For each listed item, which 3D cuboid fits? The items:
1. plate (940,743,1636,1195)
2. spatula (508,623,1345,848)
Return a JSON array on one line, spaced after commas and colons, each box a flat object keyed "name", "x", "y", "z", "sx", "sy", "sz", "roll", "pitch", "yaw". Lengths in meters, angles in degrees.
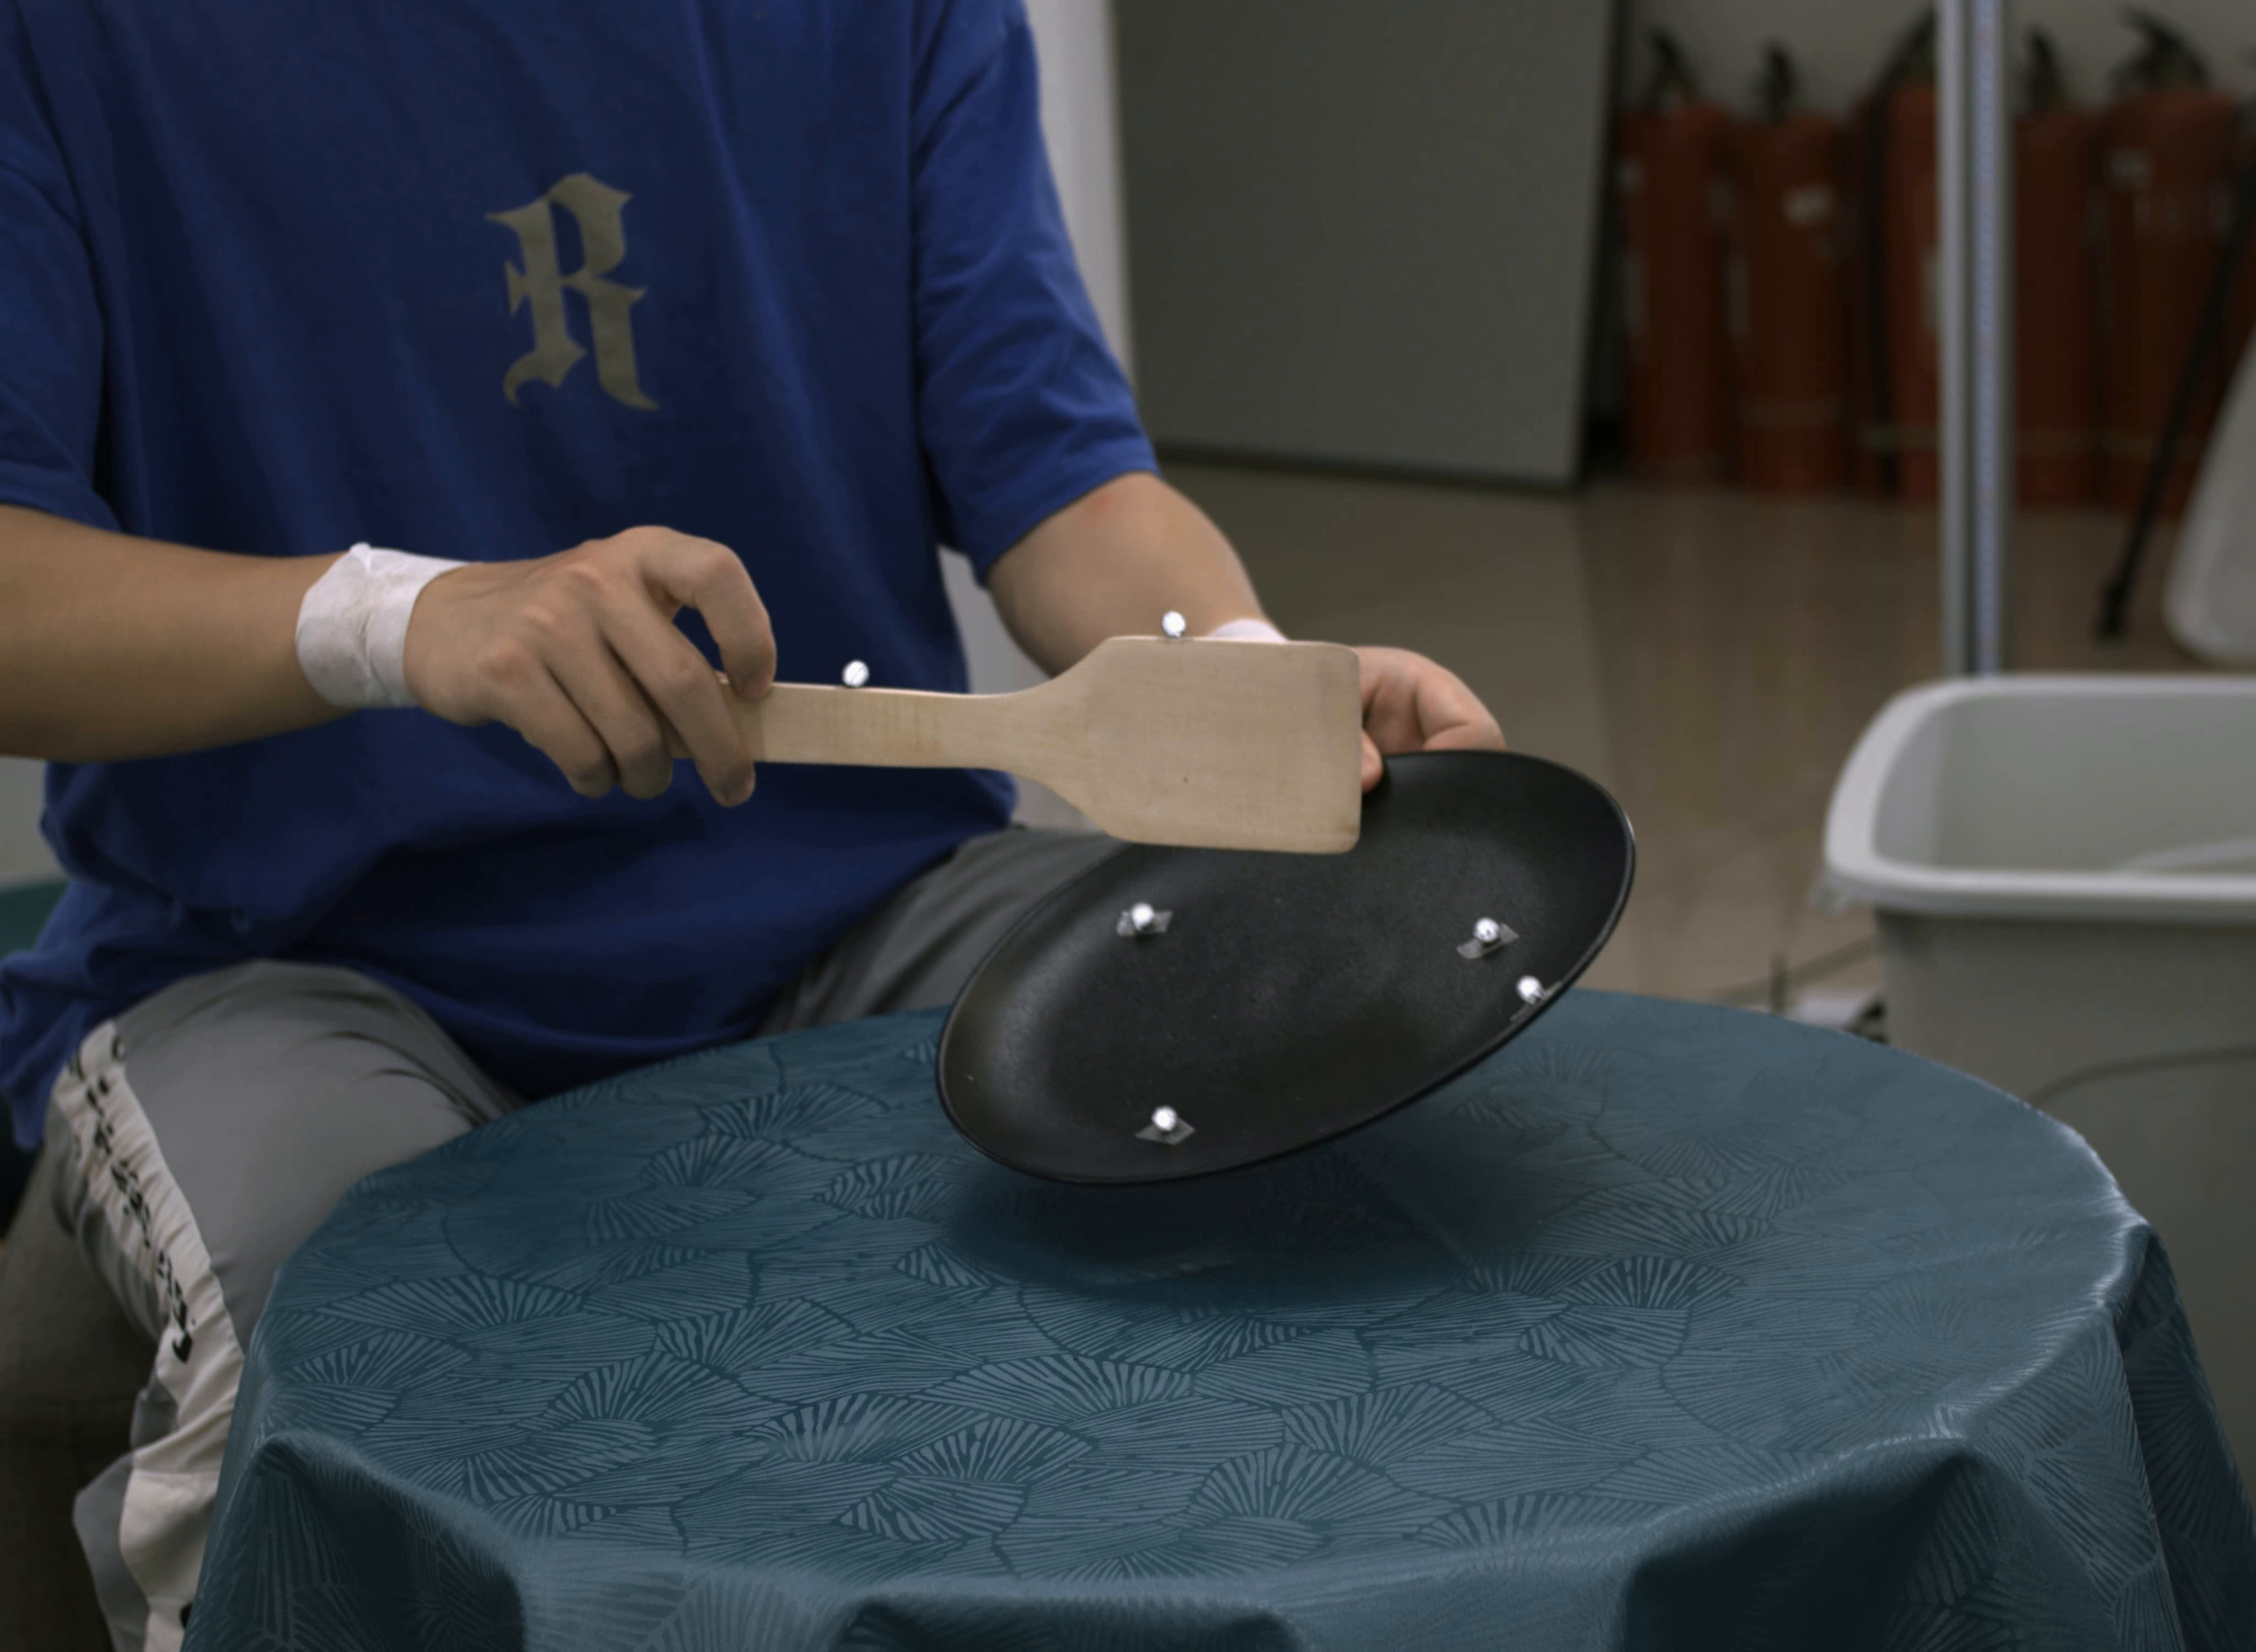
[{"name": "plate", "x": 0.054, "y": 0.050, "z": 1.753, "sx": 0.243, "sy": 0.023, "sz": 0.245, "roll": -20, "pitch": 27, "yaw": 9}, {"name": "spatula", "x": -0.070, "y": -0.034, "z": 1.777, "sx": 0.292, "sy": 0.073, "sz": 0.010, "roll": 2, "pitch": 13, "yaw": 18}]
